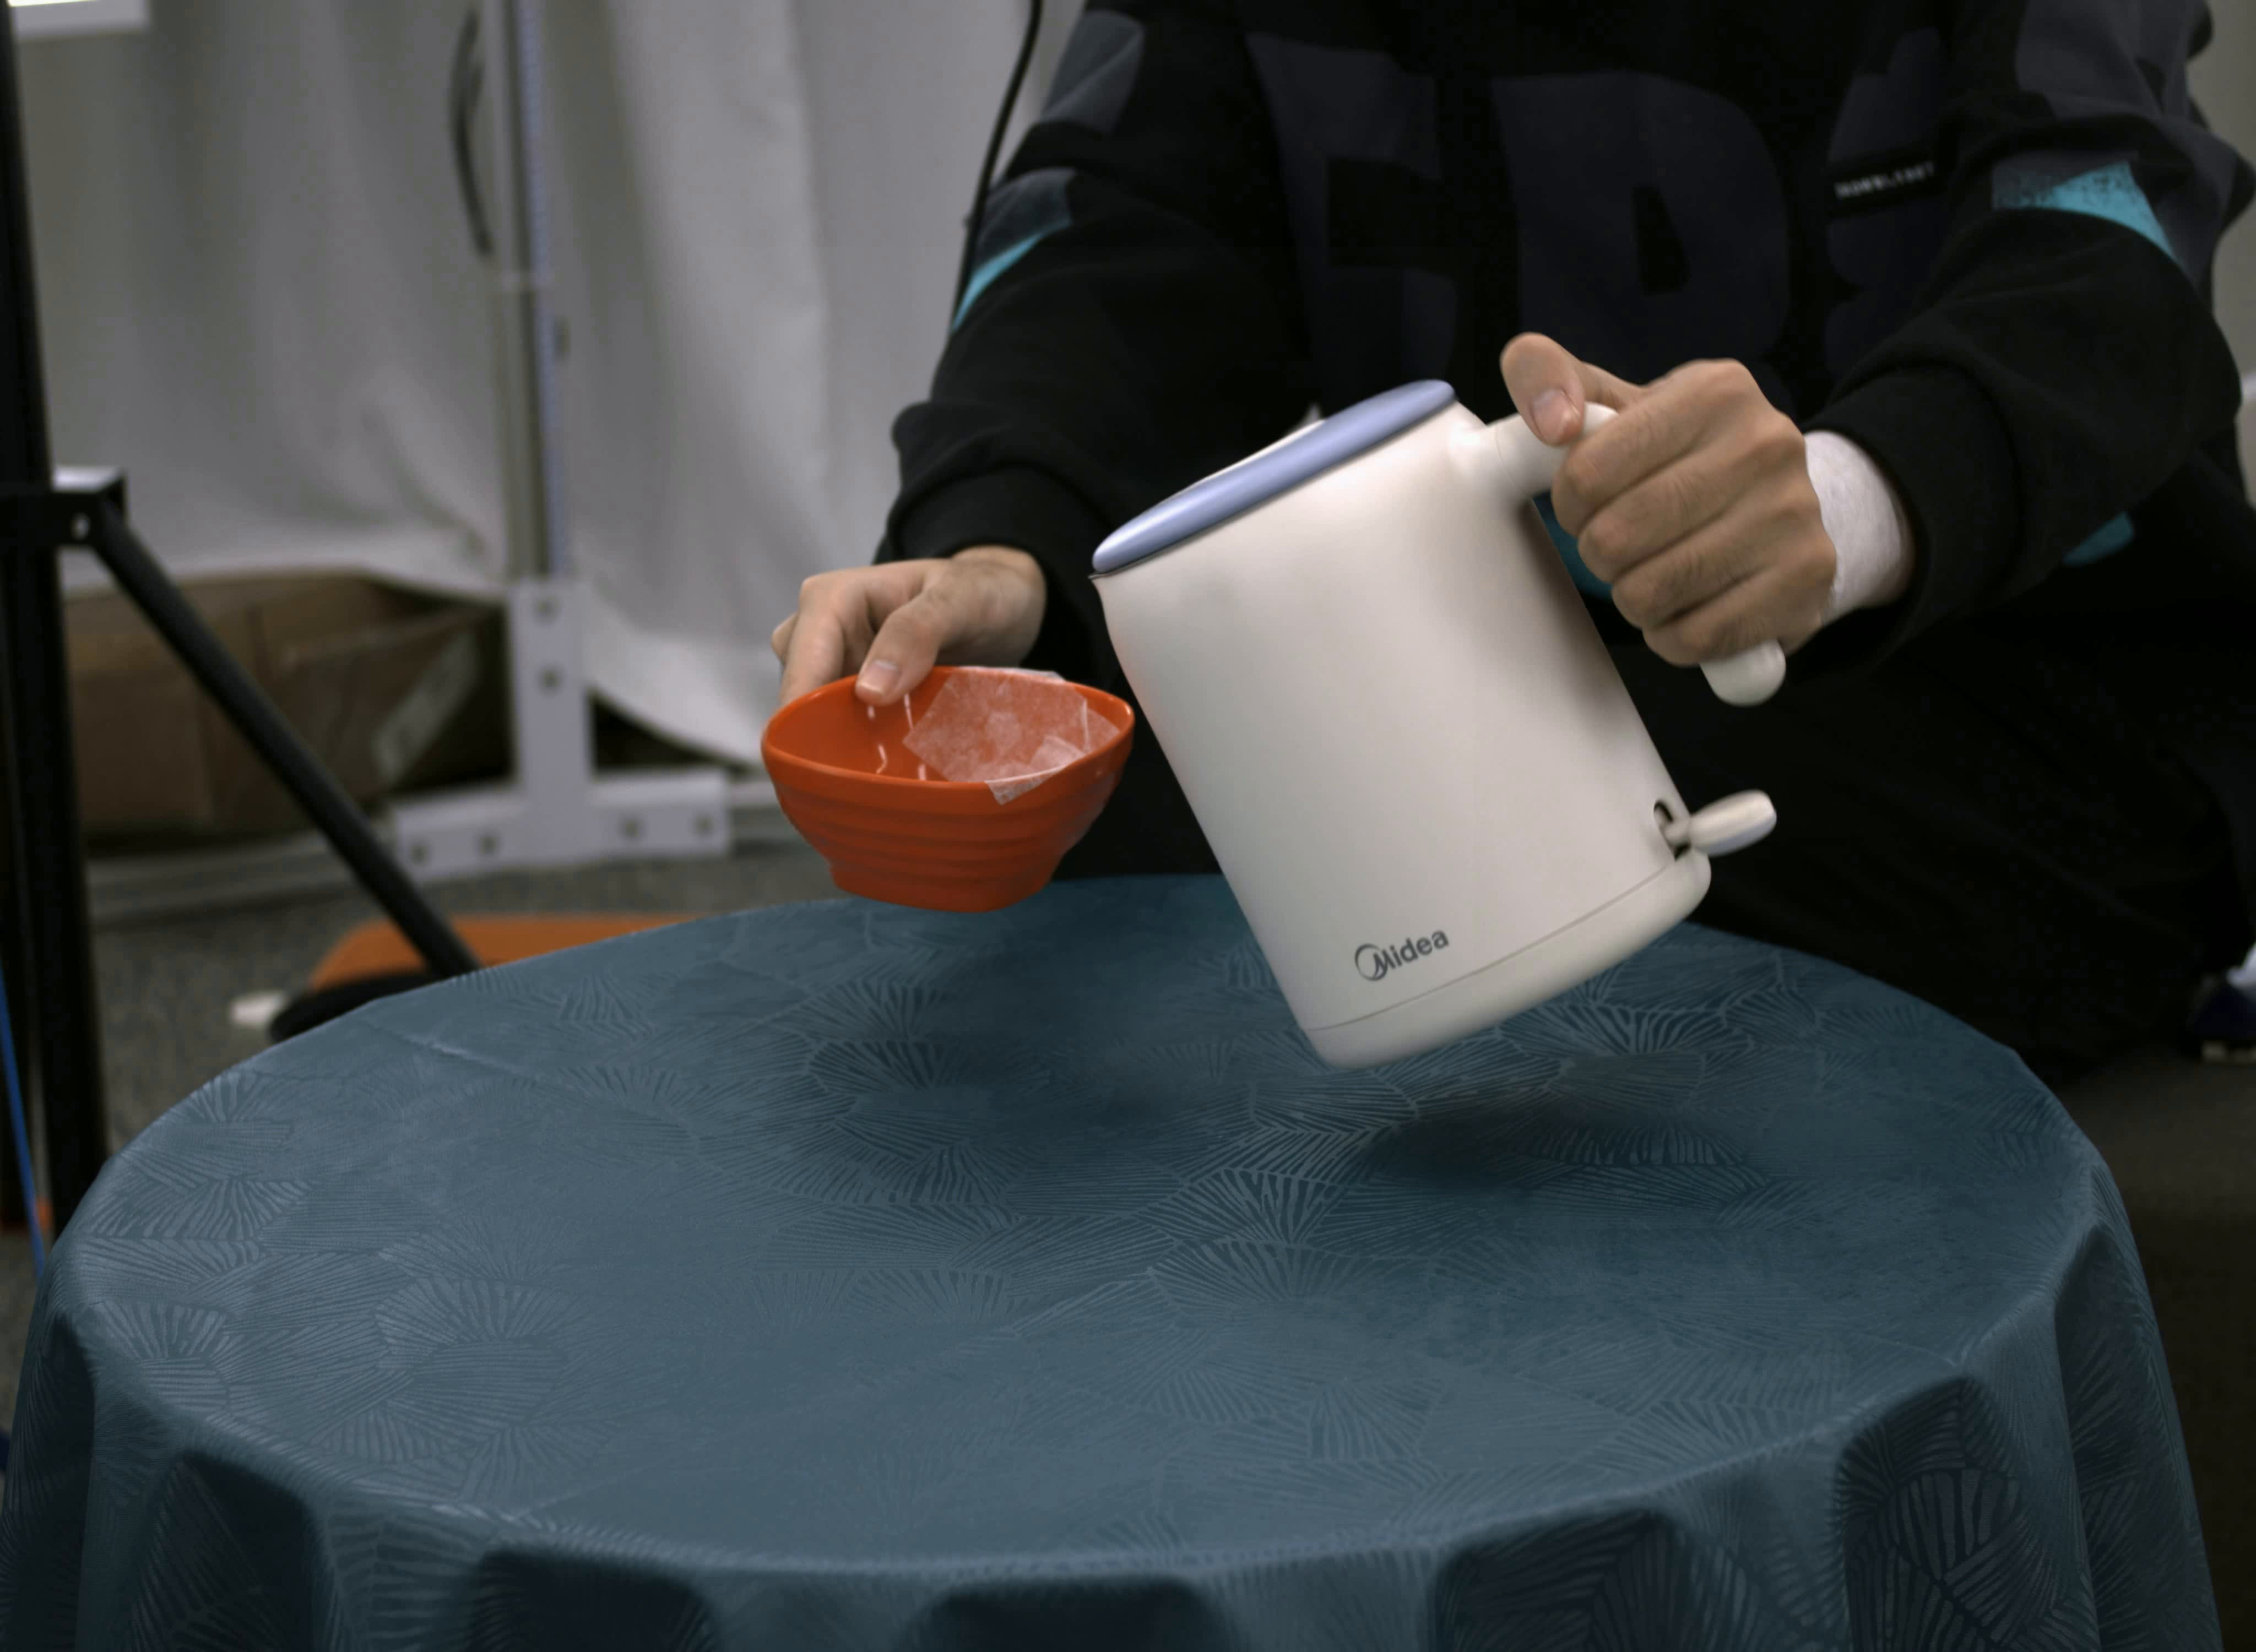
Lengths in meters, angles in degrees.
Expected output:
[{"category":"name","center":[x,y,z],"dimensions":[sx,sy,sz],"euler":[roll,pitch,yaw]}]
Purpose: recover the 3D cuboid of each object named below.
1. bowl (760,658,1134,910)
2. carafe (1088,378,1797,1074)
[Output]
[{"category":"bowl","center":[-0.055,-0.011,1.662],"dimensions":[0.118,0.051,0.120],"euler":[-3,20,0]},{"category":"carafe","center":[0.100,-0.037,1.555],"dimensions":[0.193,0.182,0.130],"euler":[-21,6,28]}]
